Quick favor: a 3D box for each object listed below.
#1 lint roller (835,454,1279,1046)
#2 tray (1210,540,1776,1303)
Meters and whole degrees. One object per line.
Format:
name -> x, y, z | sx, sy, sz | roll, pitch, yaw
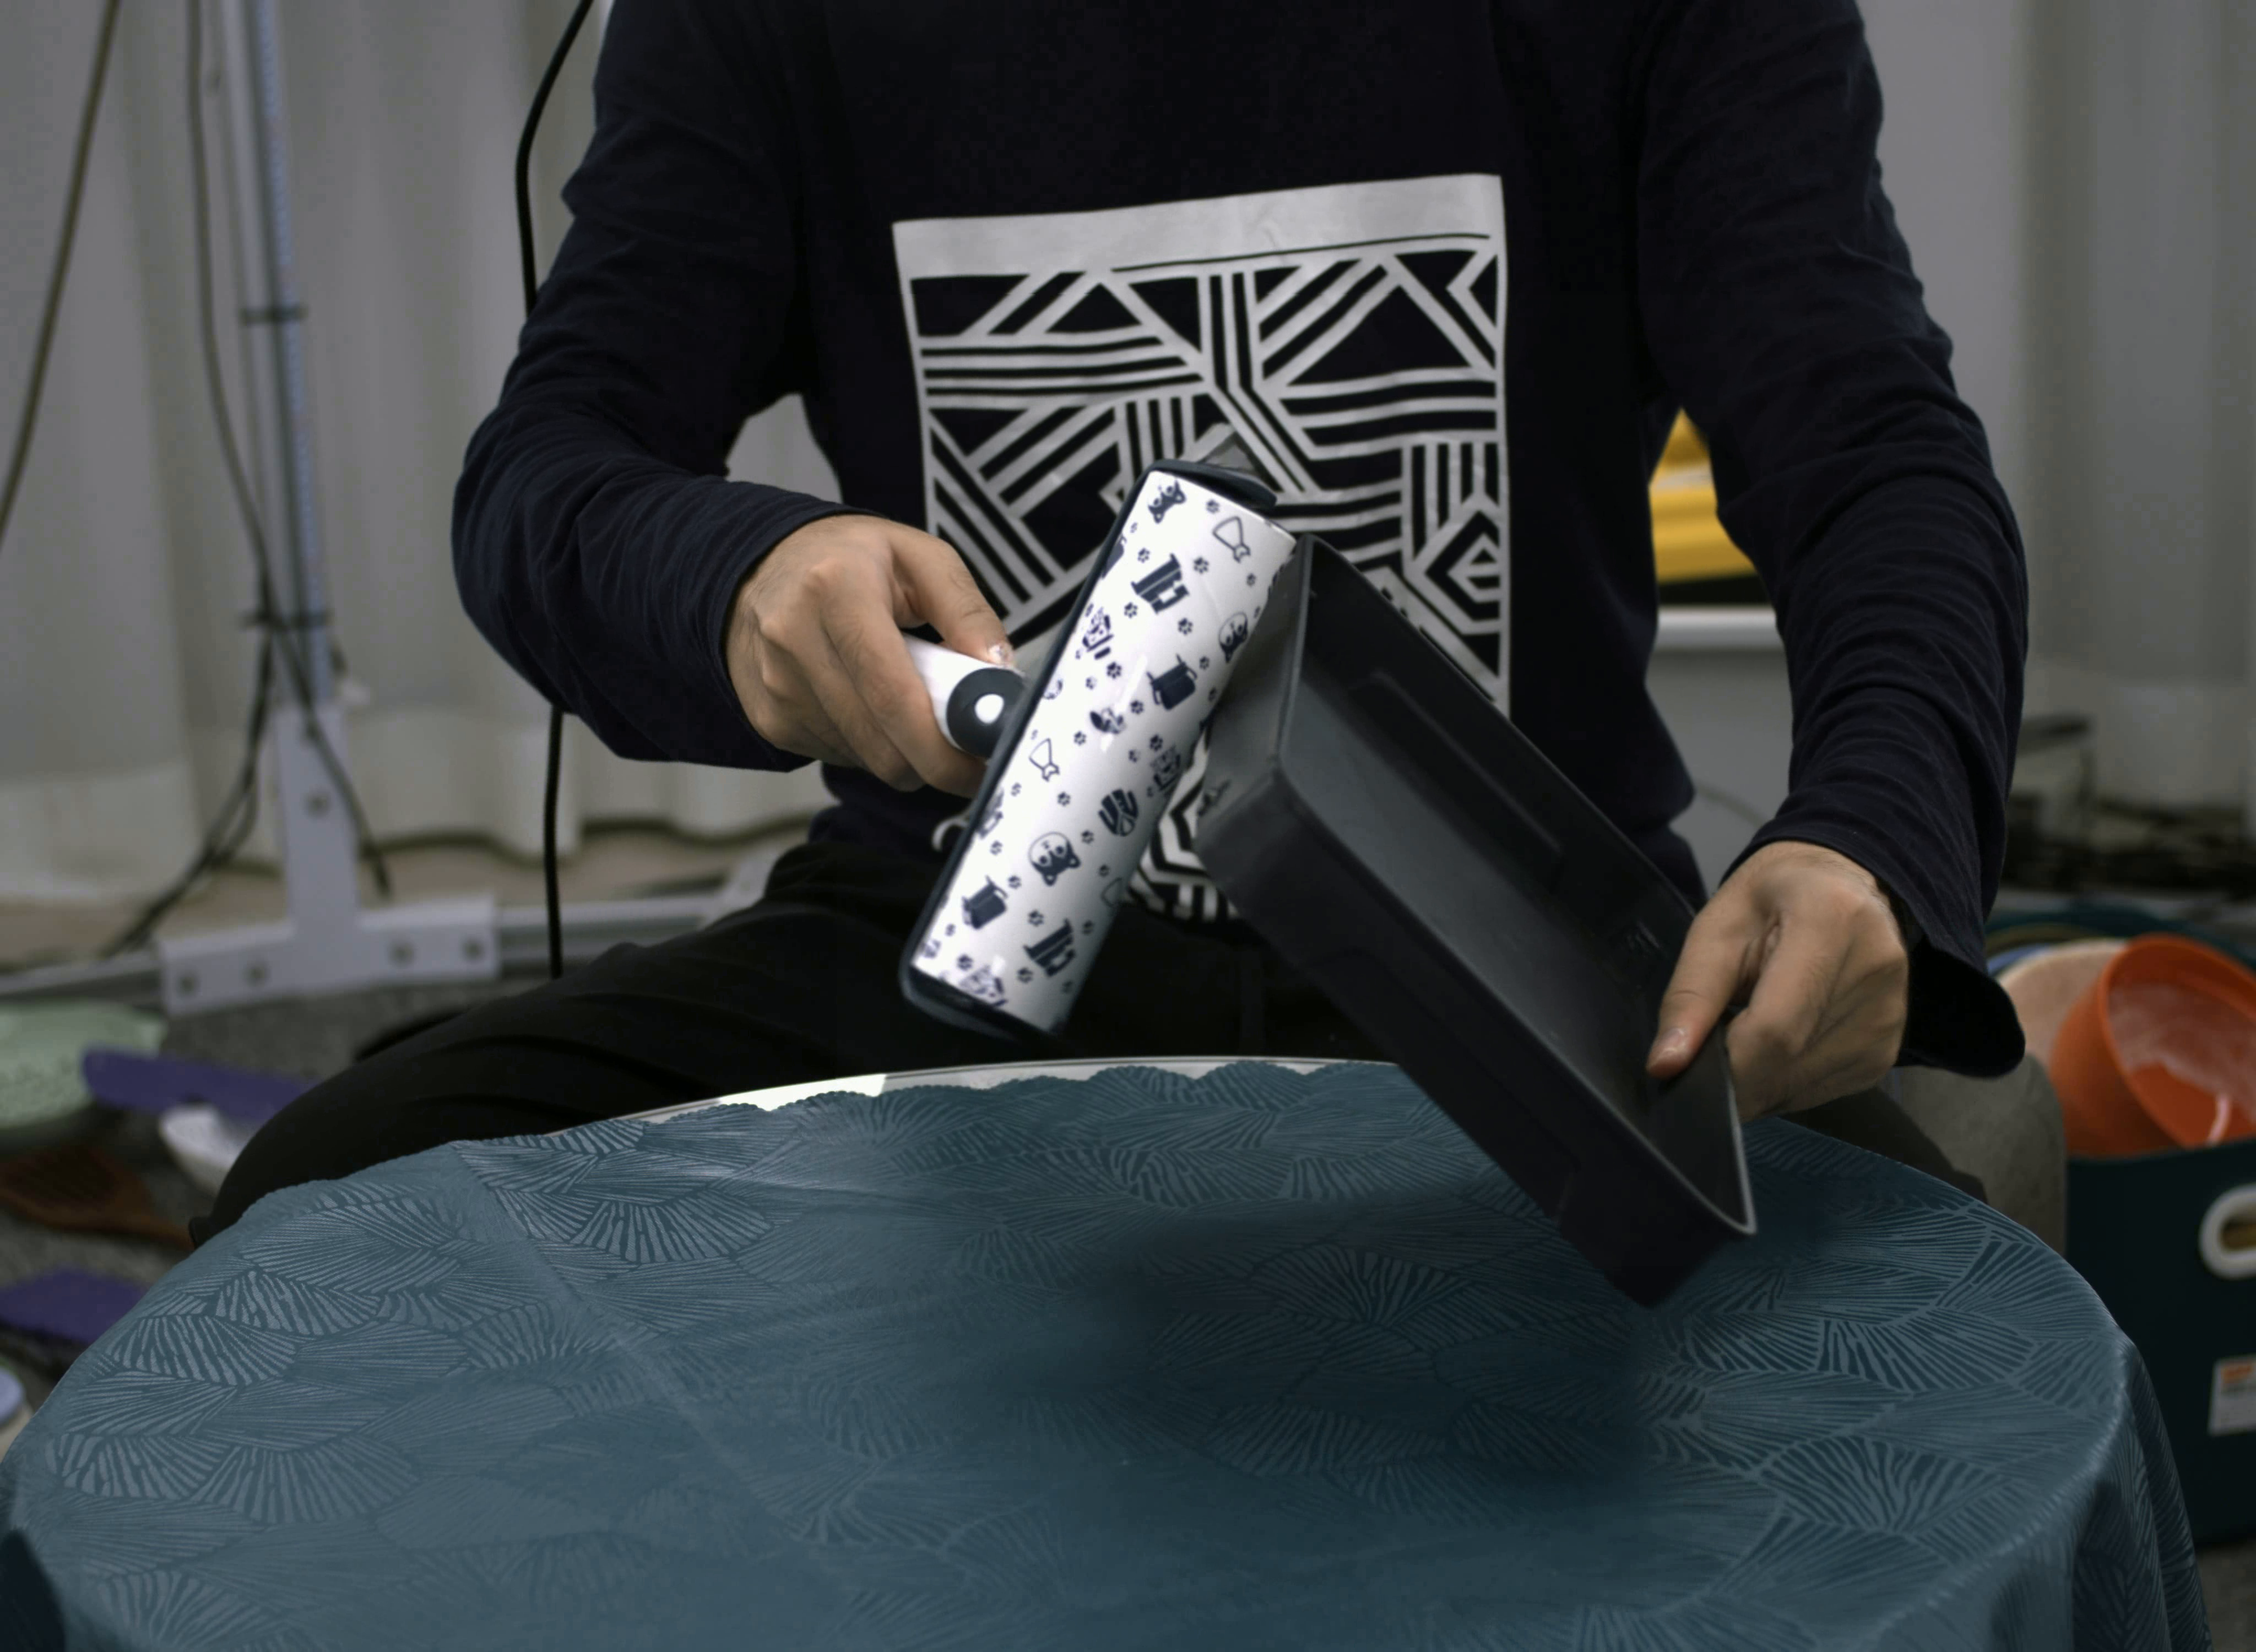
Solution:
lint roller -> -0.047, -0.035, 1.672 | 0.050, 0.177, 0.248 | 24, -3, -25
tray -> 0.101, 0.019, 1.565 | 0.037, 0.184, 0.320 | -44, 7, 12
